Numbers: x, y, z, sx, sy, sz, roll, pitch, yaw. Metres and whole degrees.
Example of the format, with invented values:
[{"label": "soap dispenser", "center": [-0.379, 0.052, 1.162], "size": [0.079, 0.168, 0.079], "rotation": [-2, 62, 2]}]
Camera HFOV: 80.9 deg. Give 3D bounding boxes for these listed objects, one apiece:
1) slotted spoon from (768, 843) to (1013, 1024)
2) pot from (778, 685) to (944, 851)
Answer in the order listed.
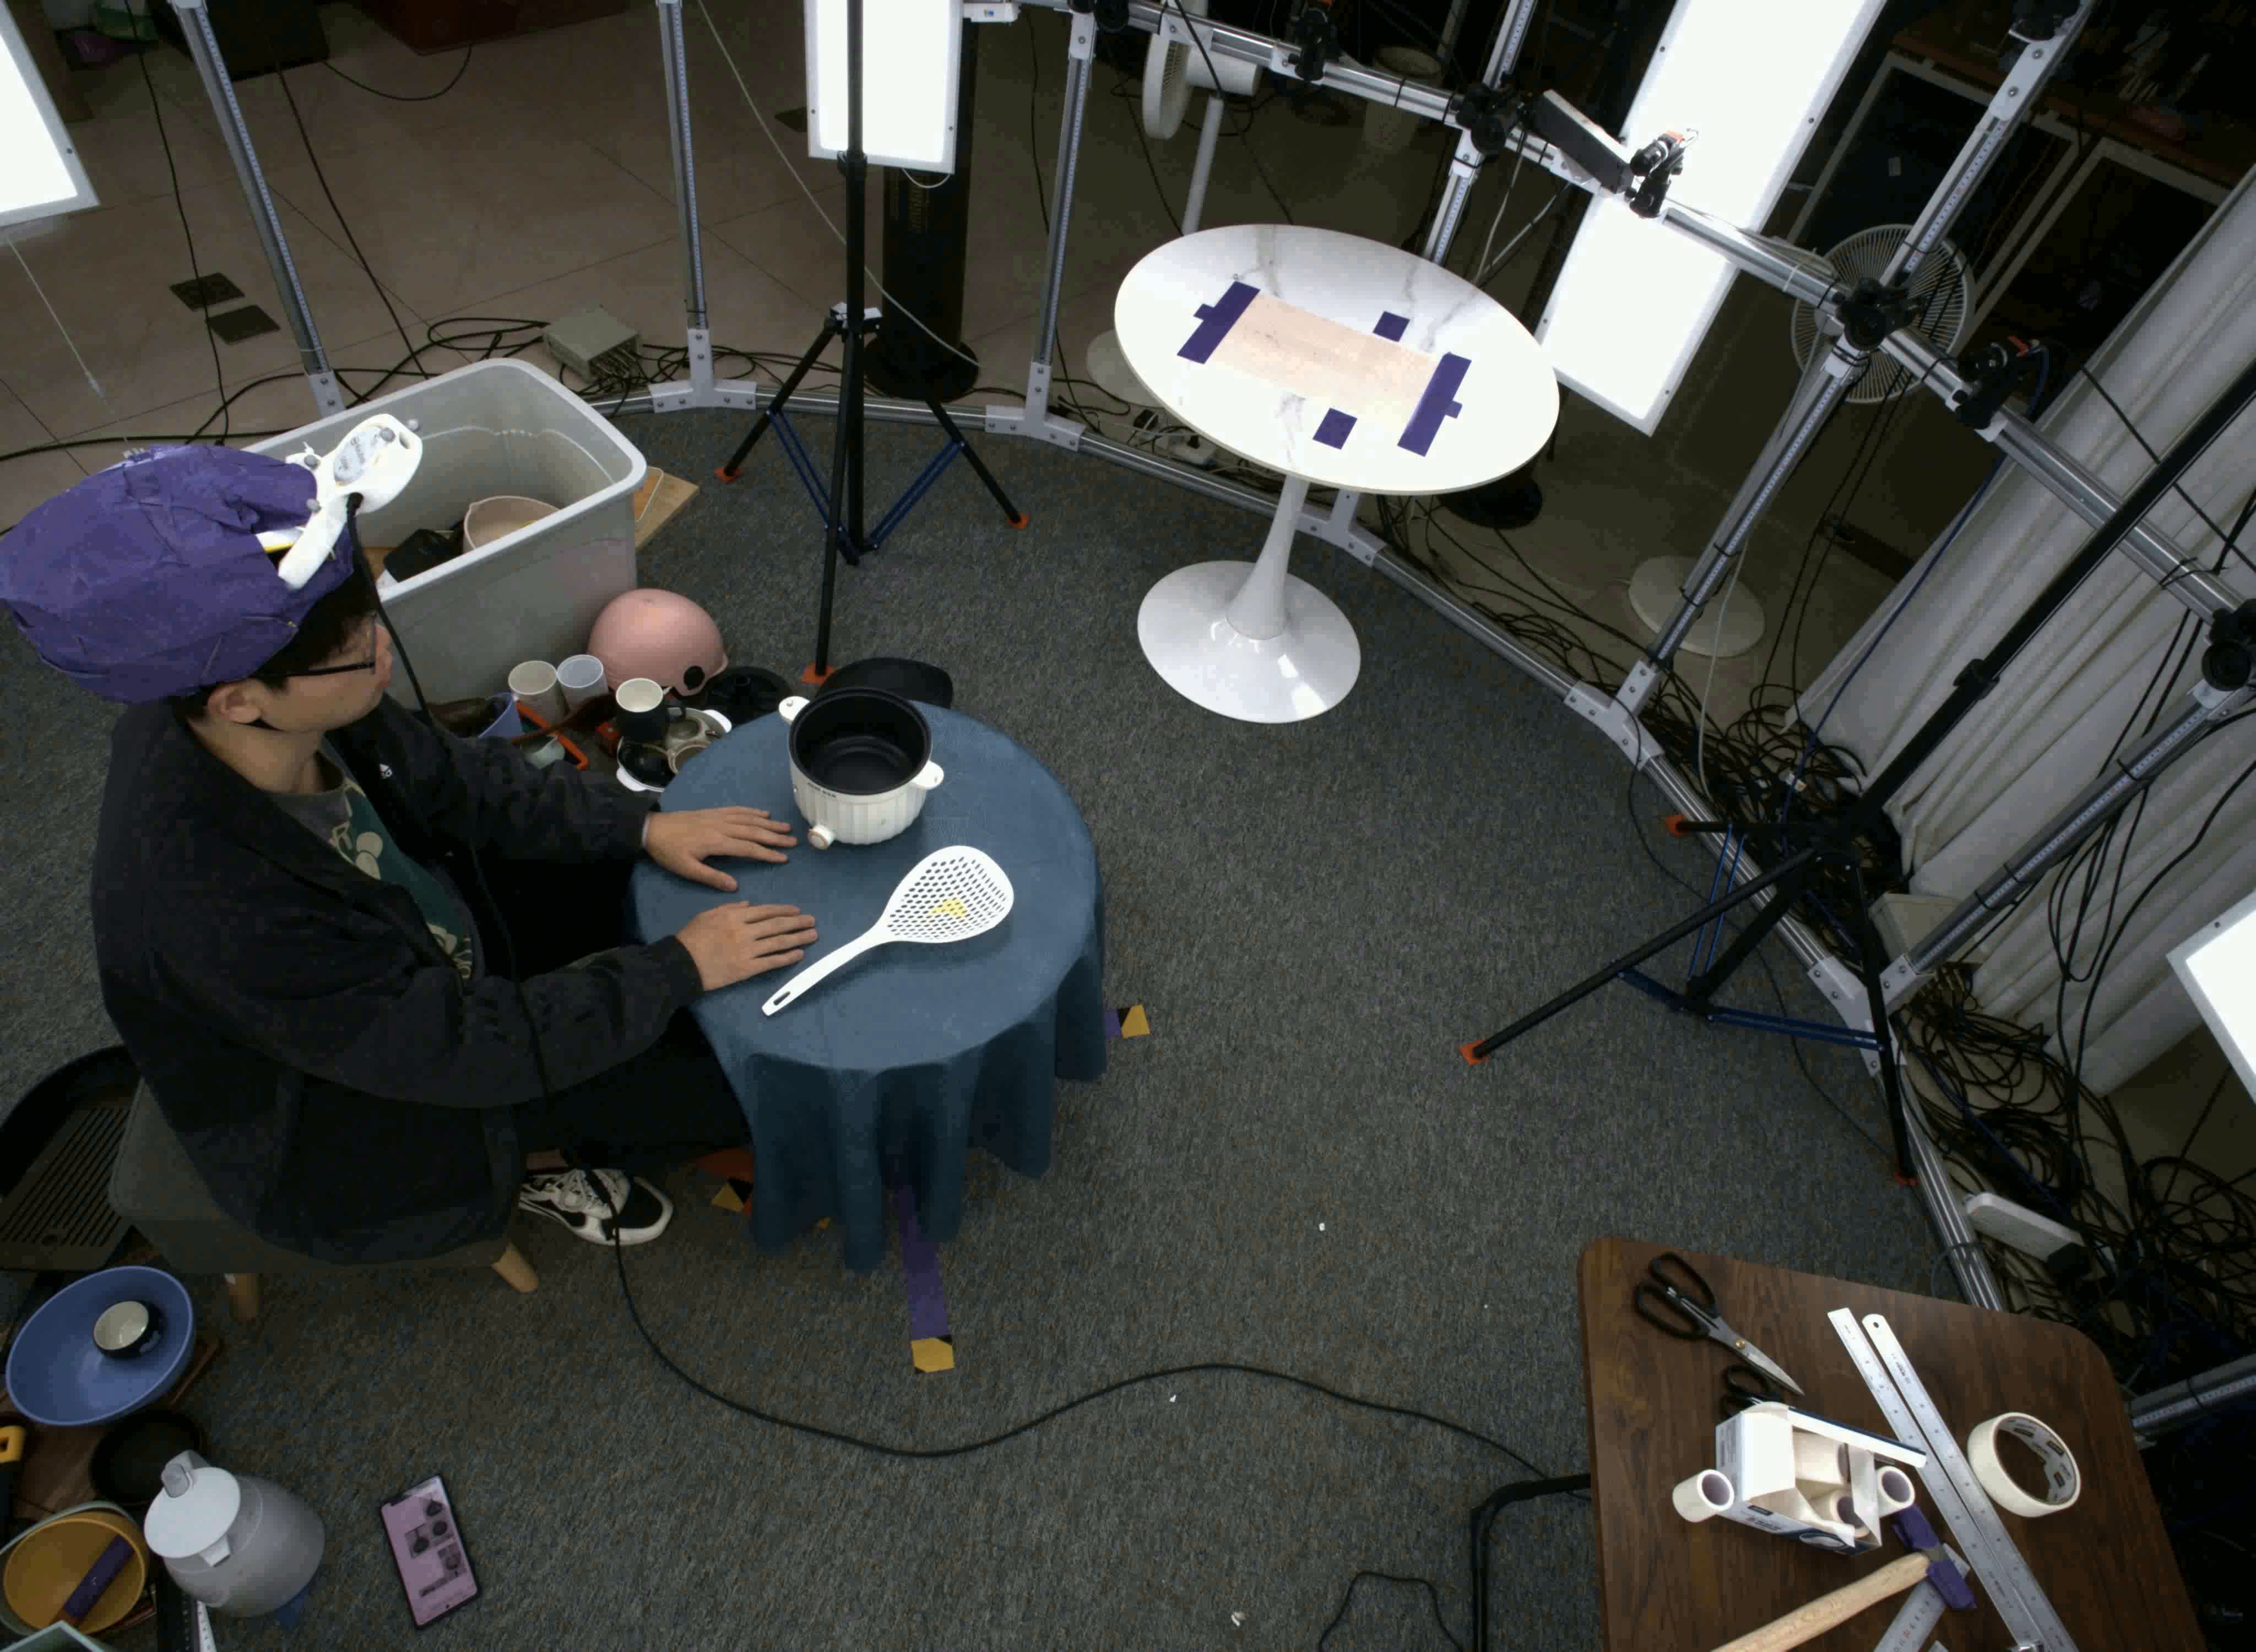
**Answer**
[{"label": "slotted spoon", "center": [-0.301, 0.138, 1.626], "size": [0.349, 0.051, 0.134], "rotation": [-29, 67, -30]}, {"label": "pot", "center": [-0.353, -0.068, 1.704], "size": [0.236, 0.146, 0.189], "rotation": [25, 49, 8]}]
